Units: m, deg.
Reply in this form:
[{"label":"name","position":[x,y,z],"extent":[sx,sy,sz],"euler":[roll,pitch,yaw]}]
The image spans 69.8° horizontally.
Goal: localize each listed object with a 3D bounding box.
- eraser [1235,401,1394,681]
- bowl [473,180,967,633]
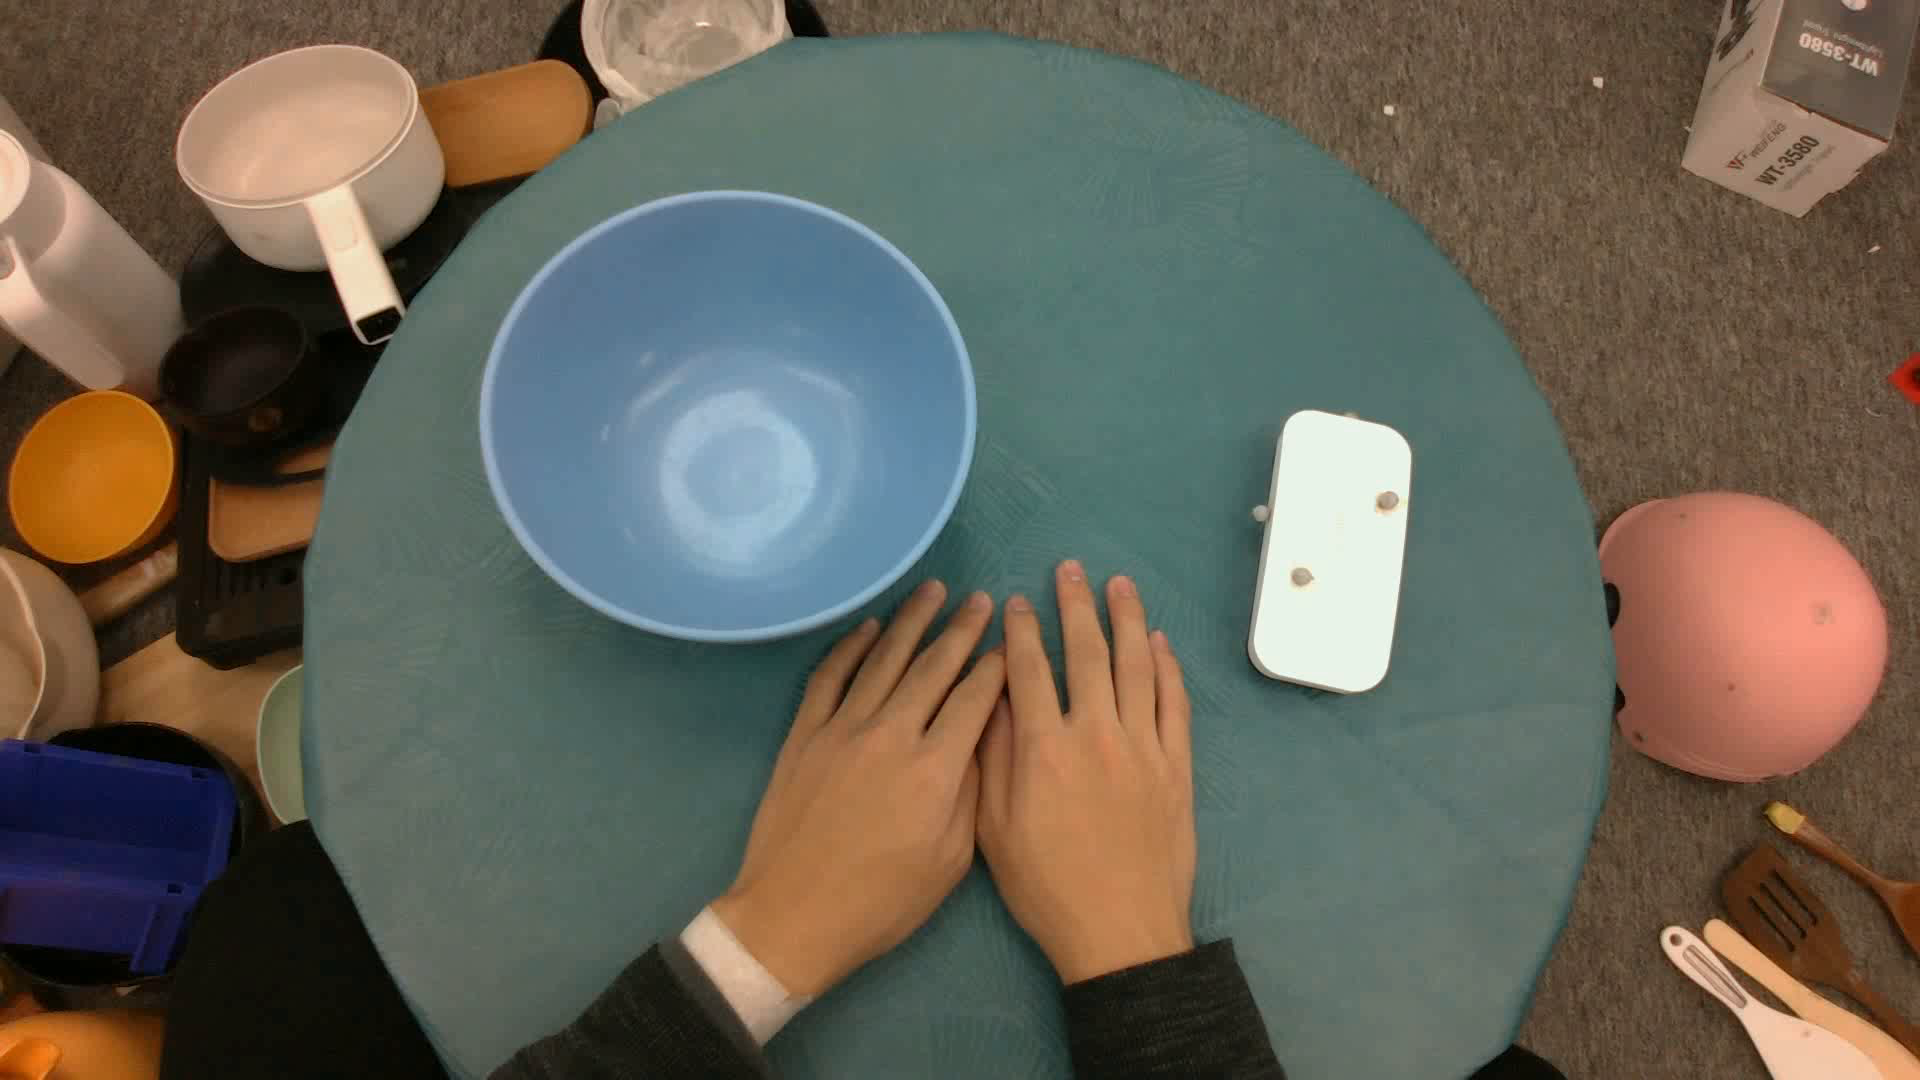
[{"label":"eraser","position":[0.163,-0.001,0.640],"extent":[0.063,0.034,0.131],"euler":[12,71,0]},{"label":"bowl","position":[-0.099,-0.046,0.597],"extent":[0.196,0.095,0.197],"euler":[2,72,-6]}]
